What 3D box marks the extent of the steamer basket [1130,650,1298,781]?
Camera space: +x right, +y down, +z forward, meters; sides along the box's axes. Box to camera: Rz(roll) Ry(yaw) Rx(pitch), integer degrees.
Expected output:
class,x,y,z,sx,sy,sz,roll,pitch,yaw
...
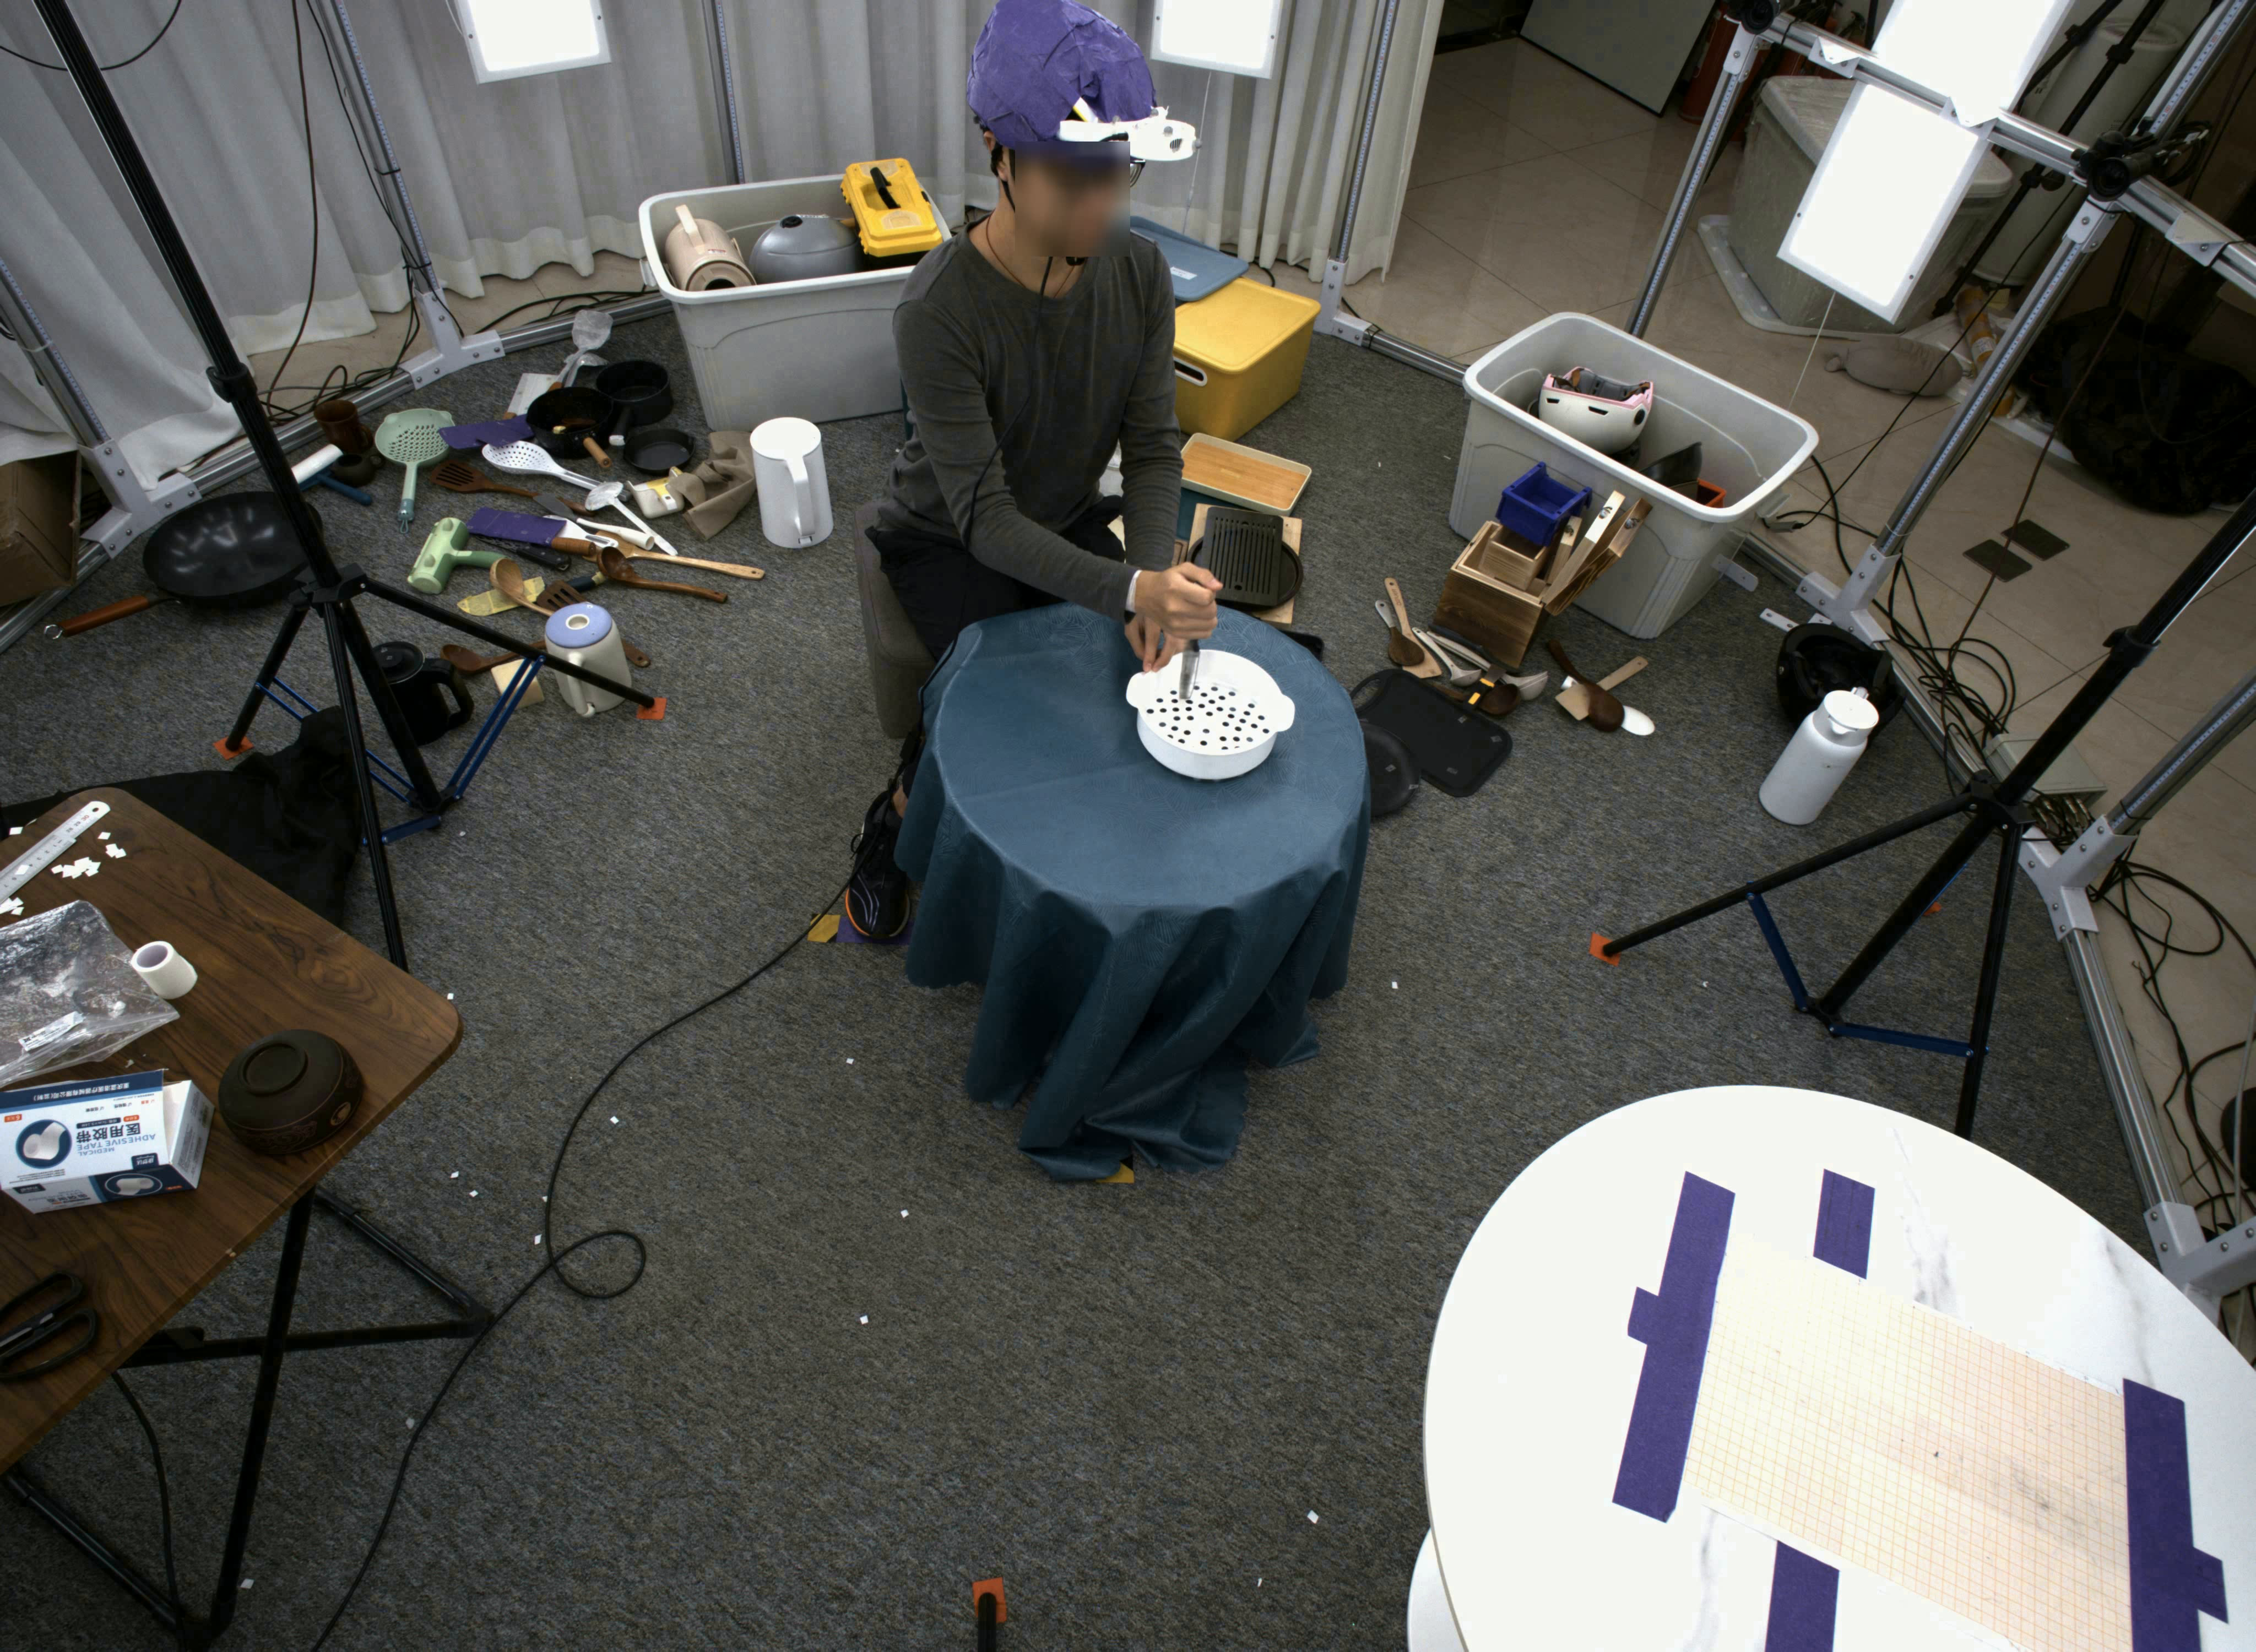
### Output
class,x,y,z,sx,sy,sz,roll,pitch,yaw
steamer basket,0.116,-0.152,1.763,0.231,0.067,0.206,10,49,6

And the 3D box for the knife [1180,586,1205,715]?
class,x,y,z,sx,sy,sz,roll,pitch,yaw
knife,0.081,-0.227,1.690,0.024,0.232,0.016,21,54,12
